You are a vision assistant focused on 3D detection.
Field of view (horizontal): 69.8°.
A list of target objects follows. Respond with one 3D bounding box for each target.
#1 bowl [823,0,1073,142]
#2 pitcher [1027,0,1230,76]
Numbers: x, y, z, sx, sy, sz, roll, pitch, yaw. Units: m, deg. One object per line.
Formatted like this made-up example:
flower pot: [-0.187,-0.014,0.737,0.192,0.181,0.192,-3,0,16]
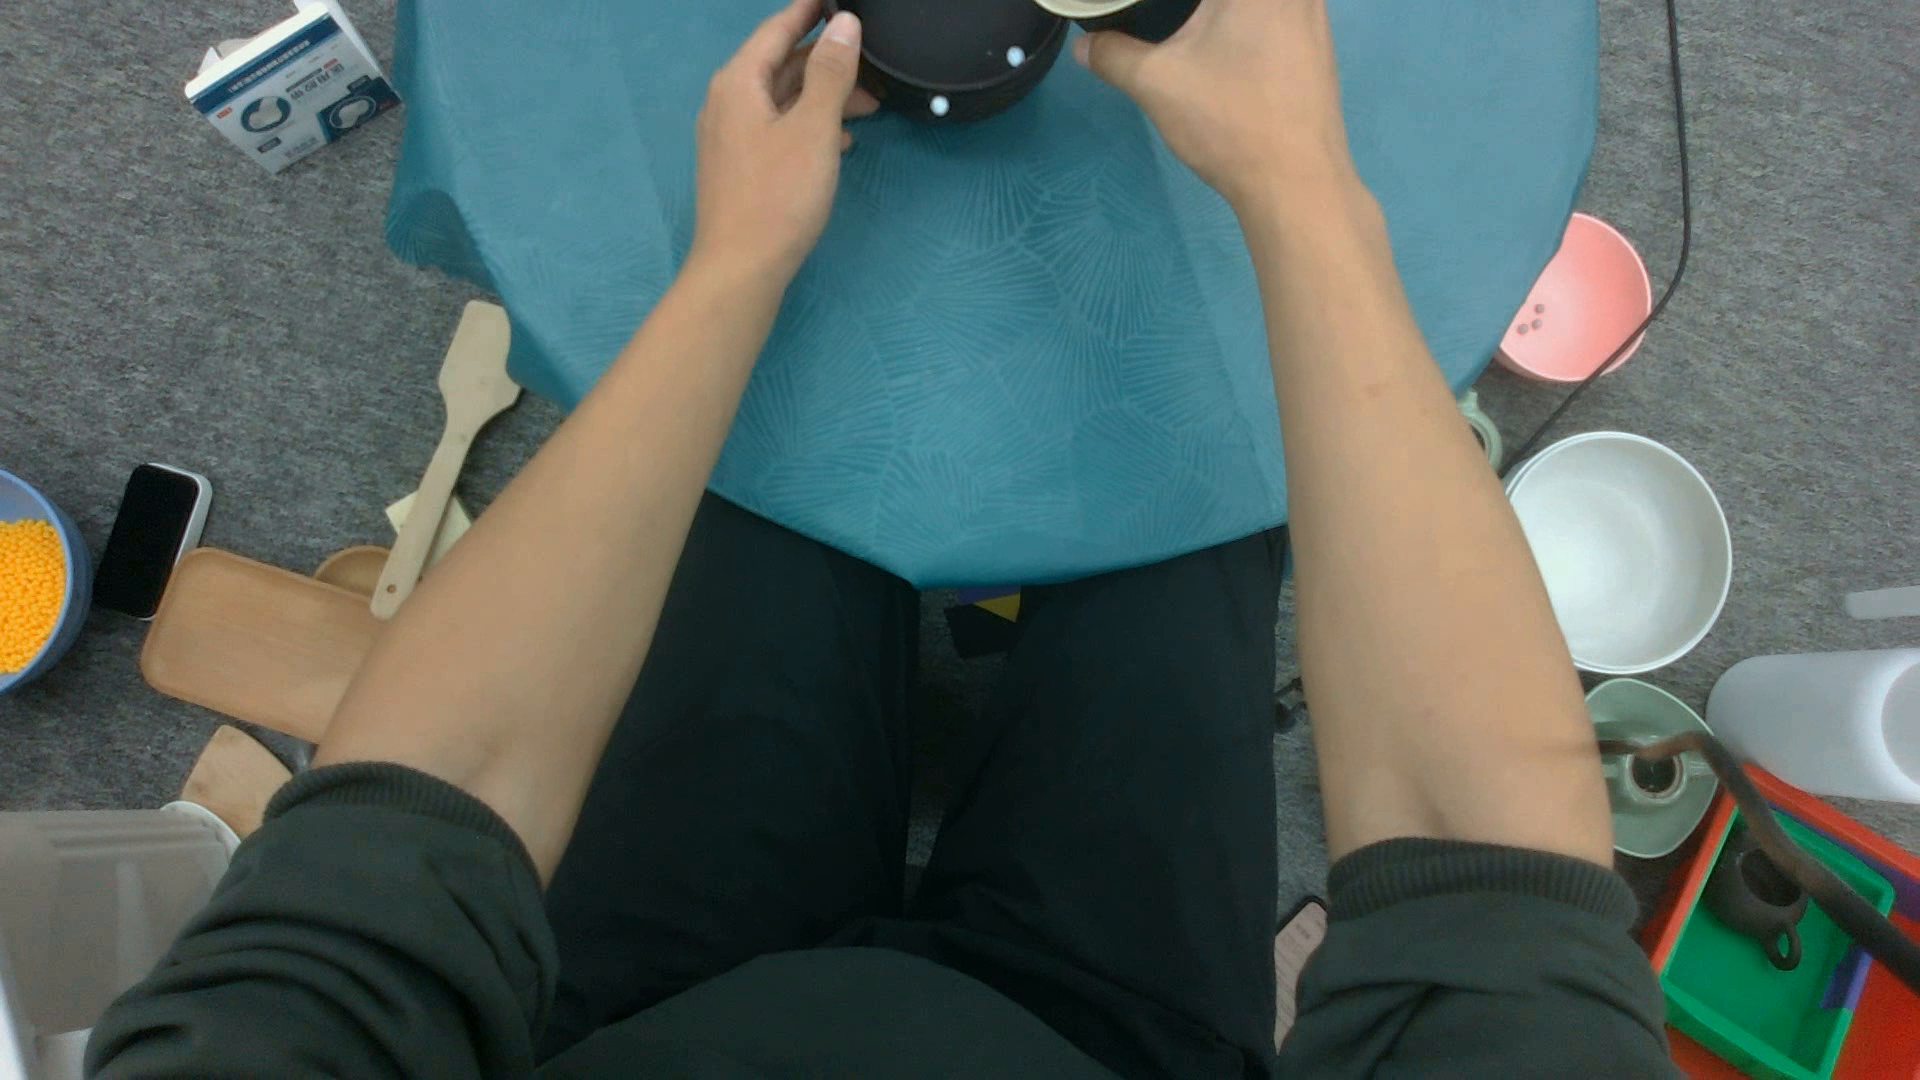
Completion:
bowl: [-0.007,-0.249,0.671,0.118,0.070,0.118,1,81,-3]
pitcher: [0.076,-0.247,0.608,0.096,0.071,0.083,21,93,35]
